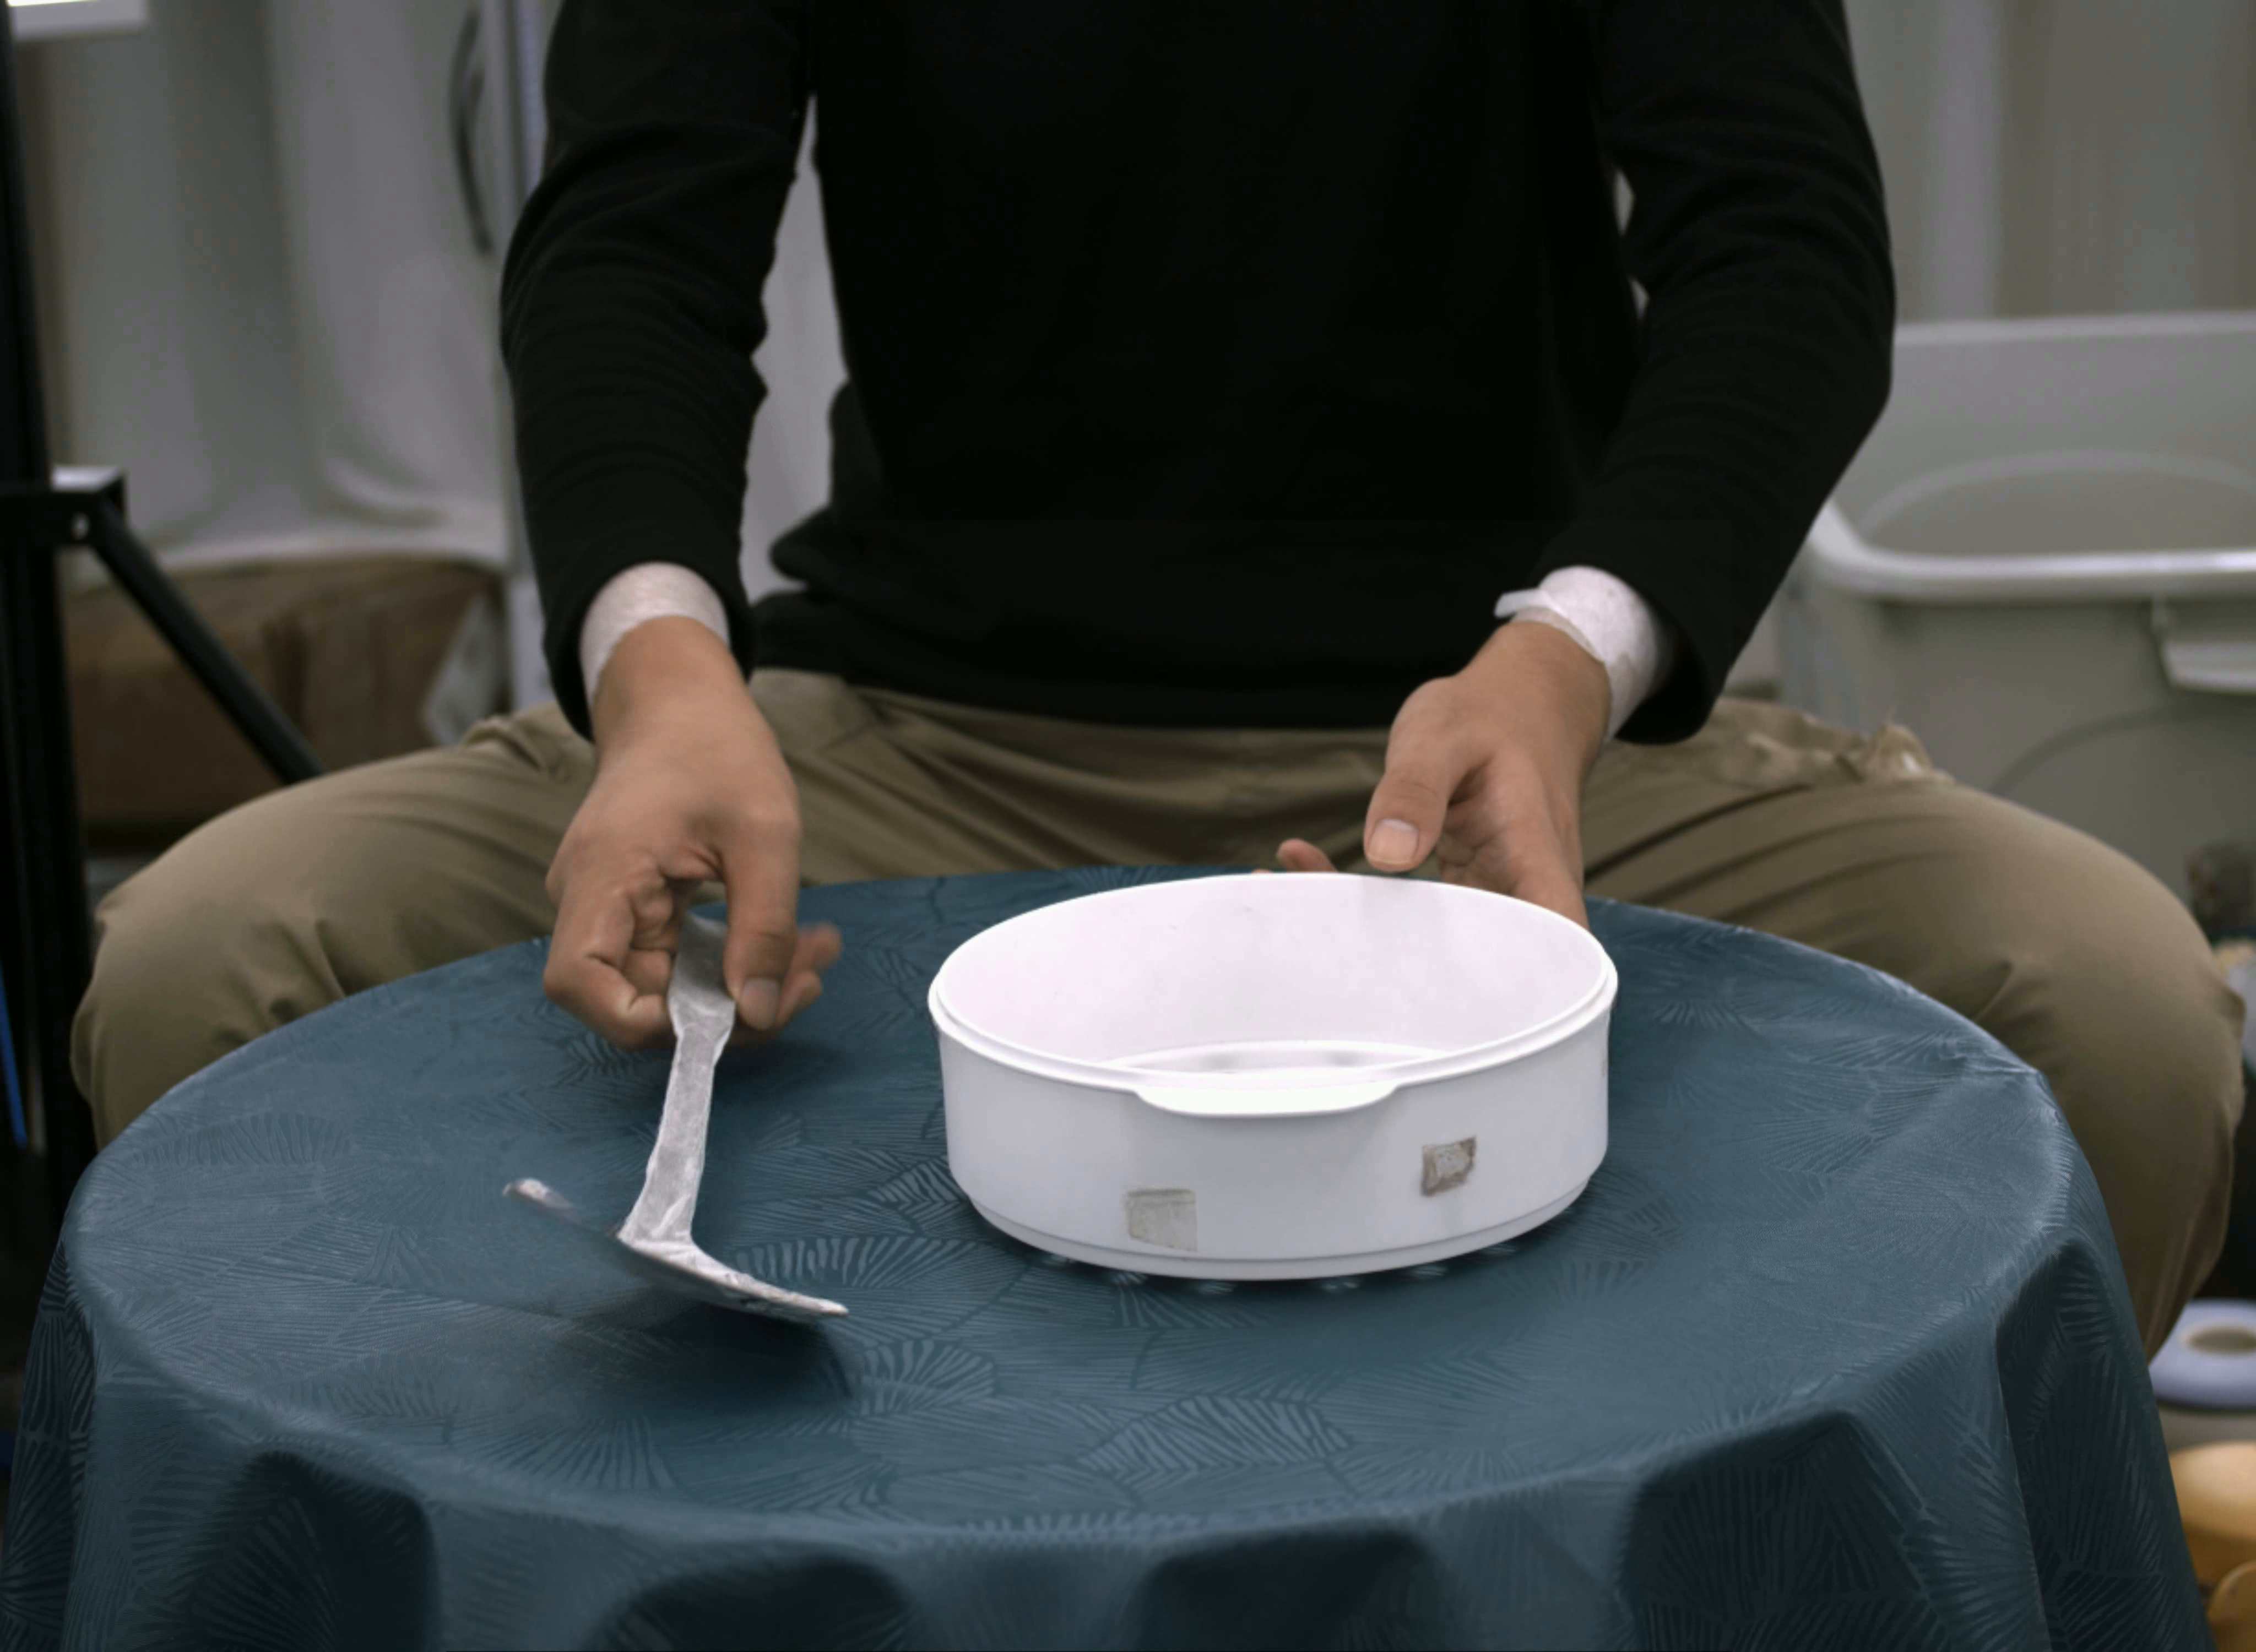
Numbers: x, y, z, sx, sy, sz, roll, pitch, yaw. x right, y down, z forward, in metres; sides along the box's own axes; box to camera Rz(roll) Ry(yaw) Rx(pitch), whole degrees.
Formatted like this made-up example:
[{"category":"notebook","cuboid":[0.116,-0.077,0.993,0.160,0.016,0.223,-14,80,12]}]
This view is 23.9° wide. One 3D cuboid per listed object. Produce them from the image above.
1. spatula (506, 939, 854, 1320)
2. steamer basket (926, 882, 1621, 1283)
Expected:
[{"category":"spatula","cuboid":[-0.126,0.078,1.576,0.098,0.045,0.366,18,17,-6]},{"category":"steamer basket","cuboid":[0.042,0.074,1.543,0.202,0.069,0.230,0,15,4]}]
